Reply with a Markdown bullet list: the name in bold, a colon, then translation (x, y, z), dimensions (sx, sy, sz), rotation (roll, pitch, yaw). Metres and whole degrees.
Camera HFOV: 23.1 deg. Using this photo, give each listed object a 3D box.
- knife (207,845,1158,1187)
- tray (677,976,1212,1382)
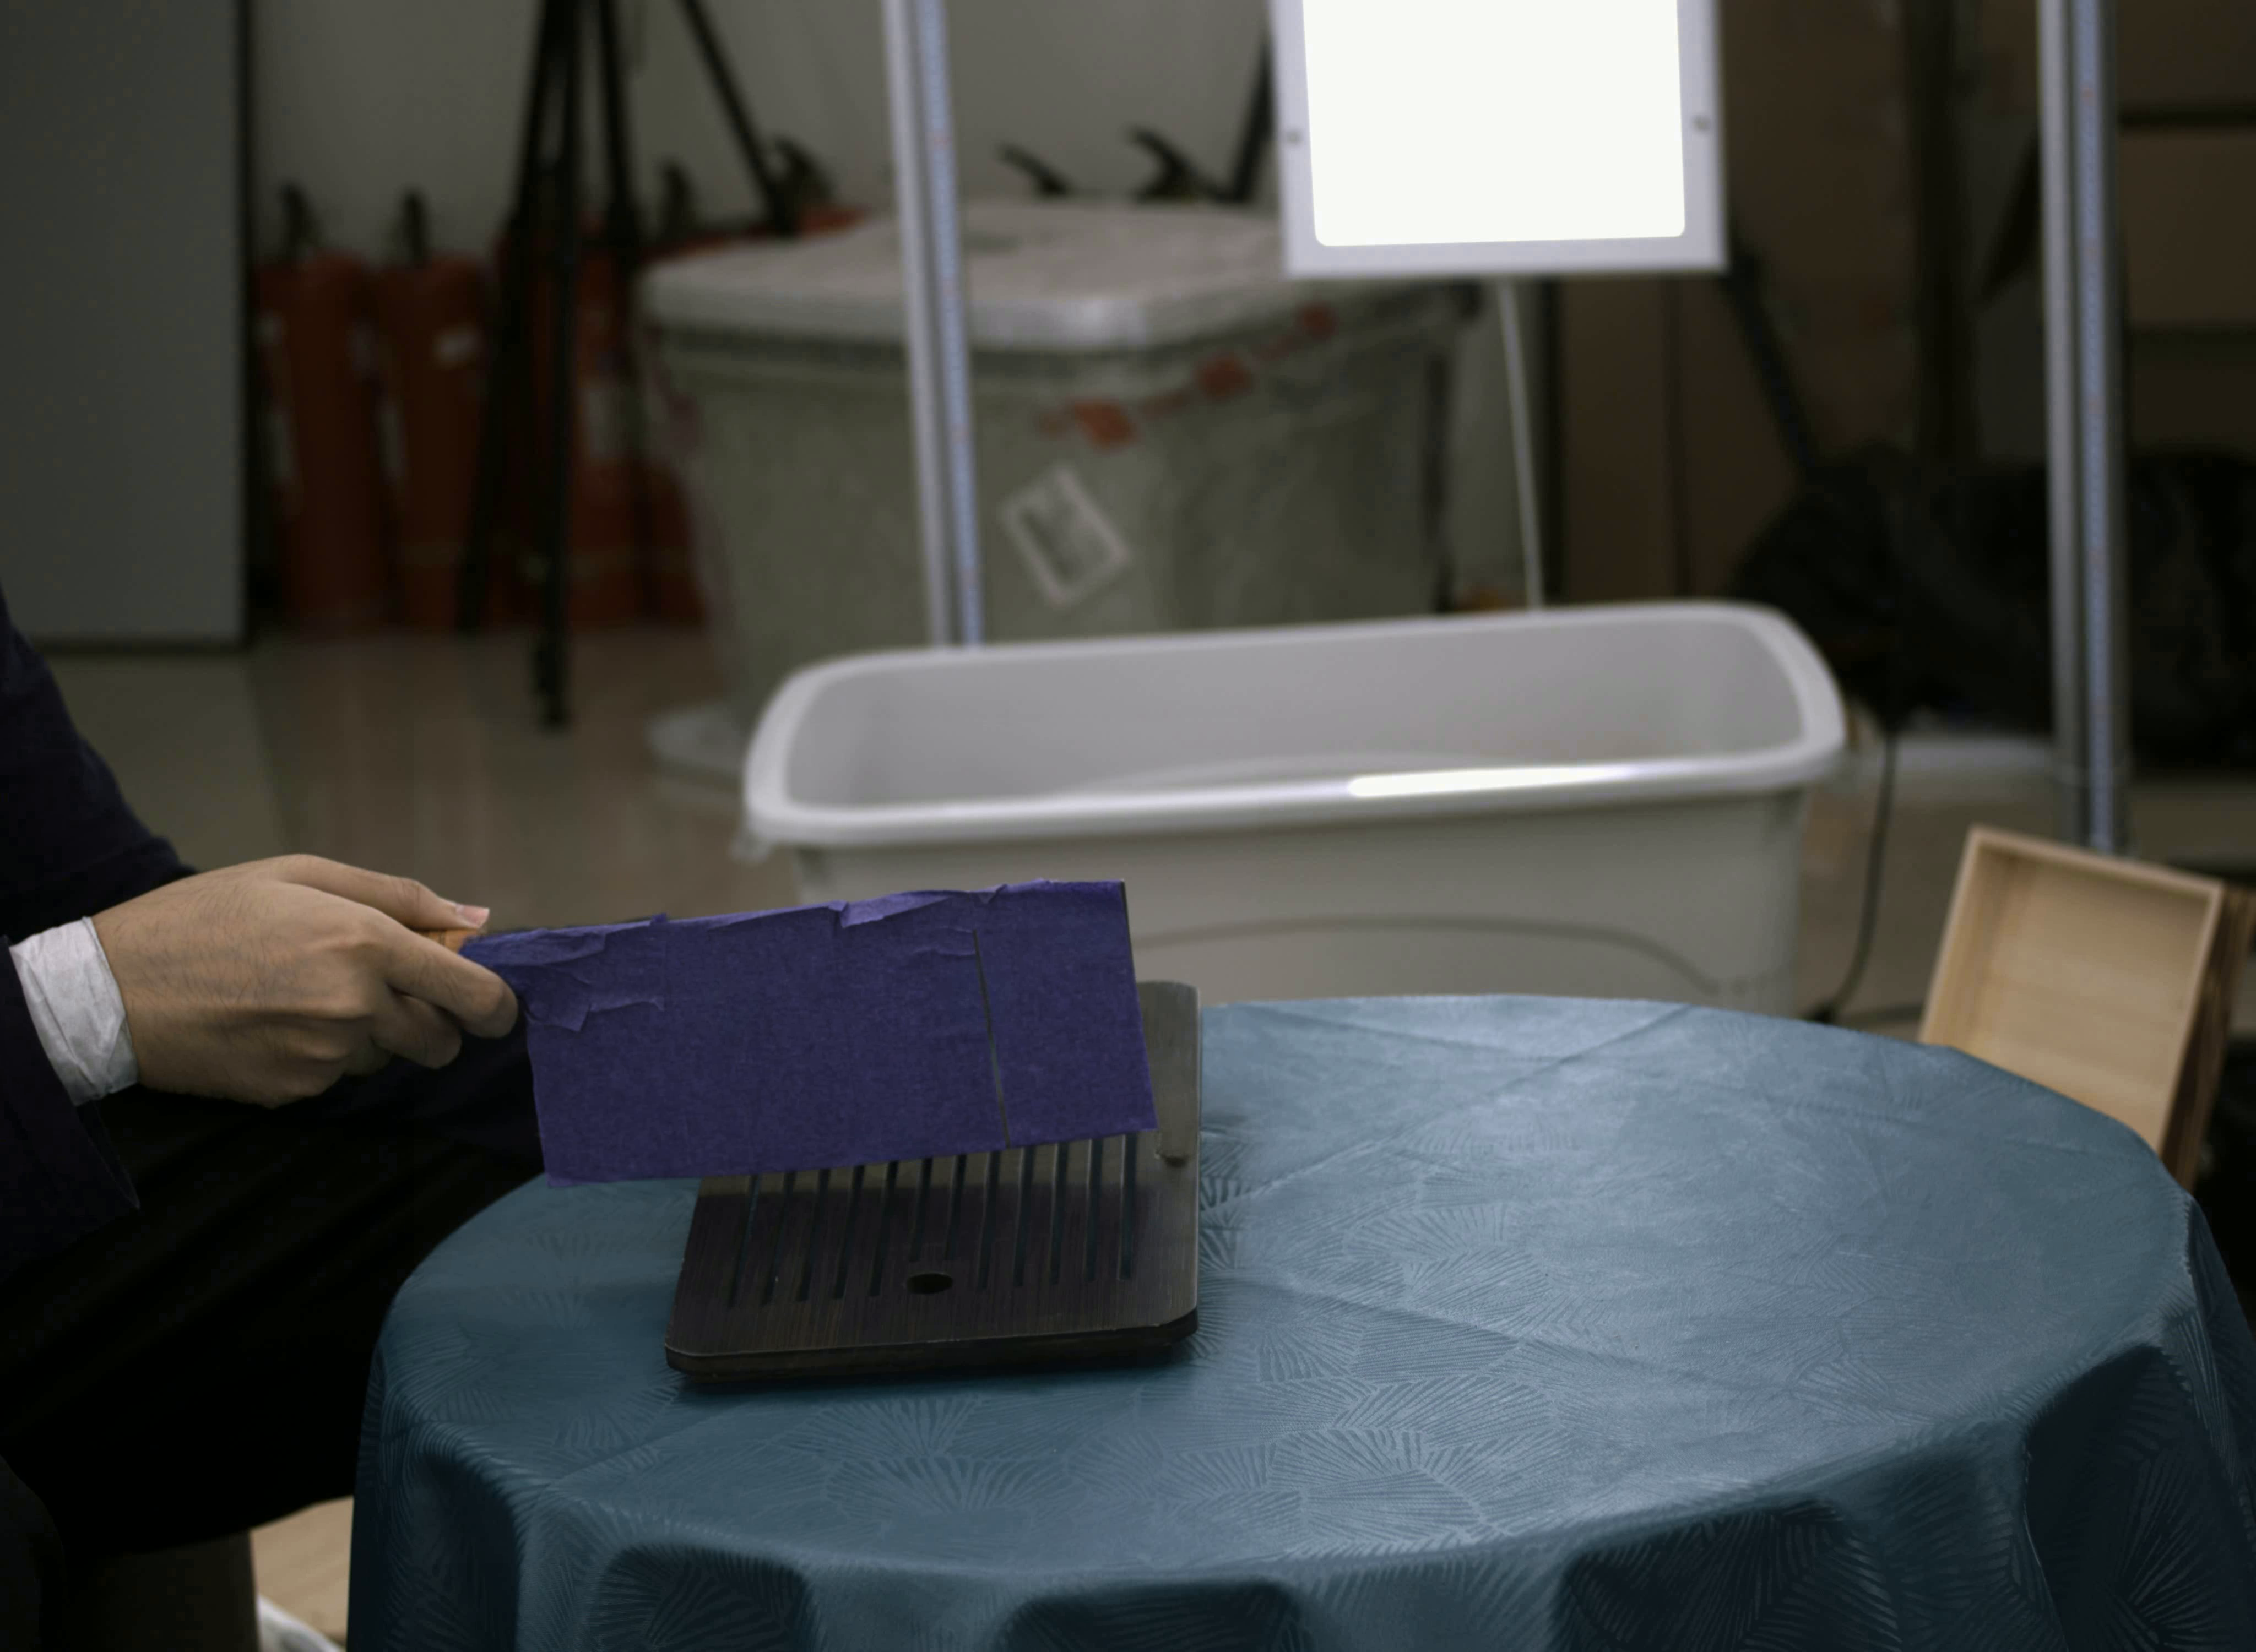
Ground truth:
- **knife**: translation (-0.149, 0.073, 1.845), dimensions (0.316, 0.104, 0.032), rotation (-6, 12, 8)
- **tray**: translation (-0.056, 0.117, 1.867), dimensions (0.170, 0.019, 0.304), rotation (-5, 19, 3)
